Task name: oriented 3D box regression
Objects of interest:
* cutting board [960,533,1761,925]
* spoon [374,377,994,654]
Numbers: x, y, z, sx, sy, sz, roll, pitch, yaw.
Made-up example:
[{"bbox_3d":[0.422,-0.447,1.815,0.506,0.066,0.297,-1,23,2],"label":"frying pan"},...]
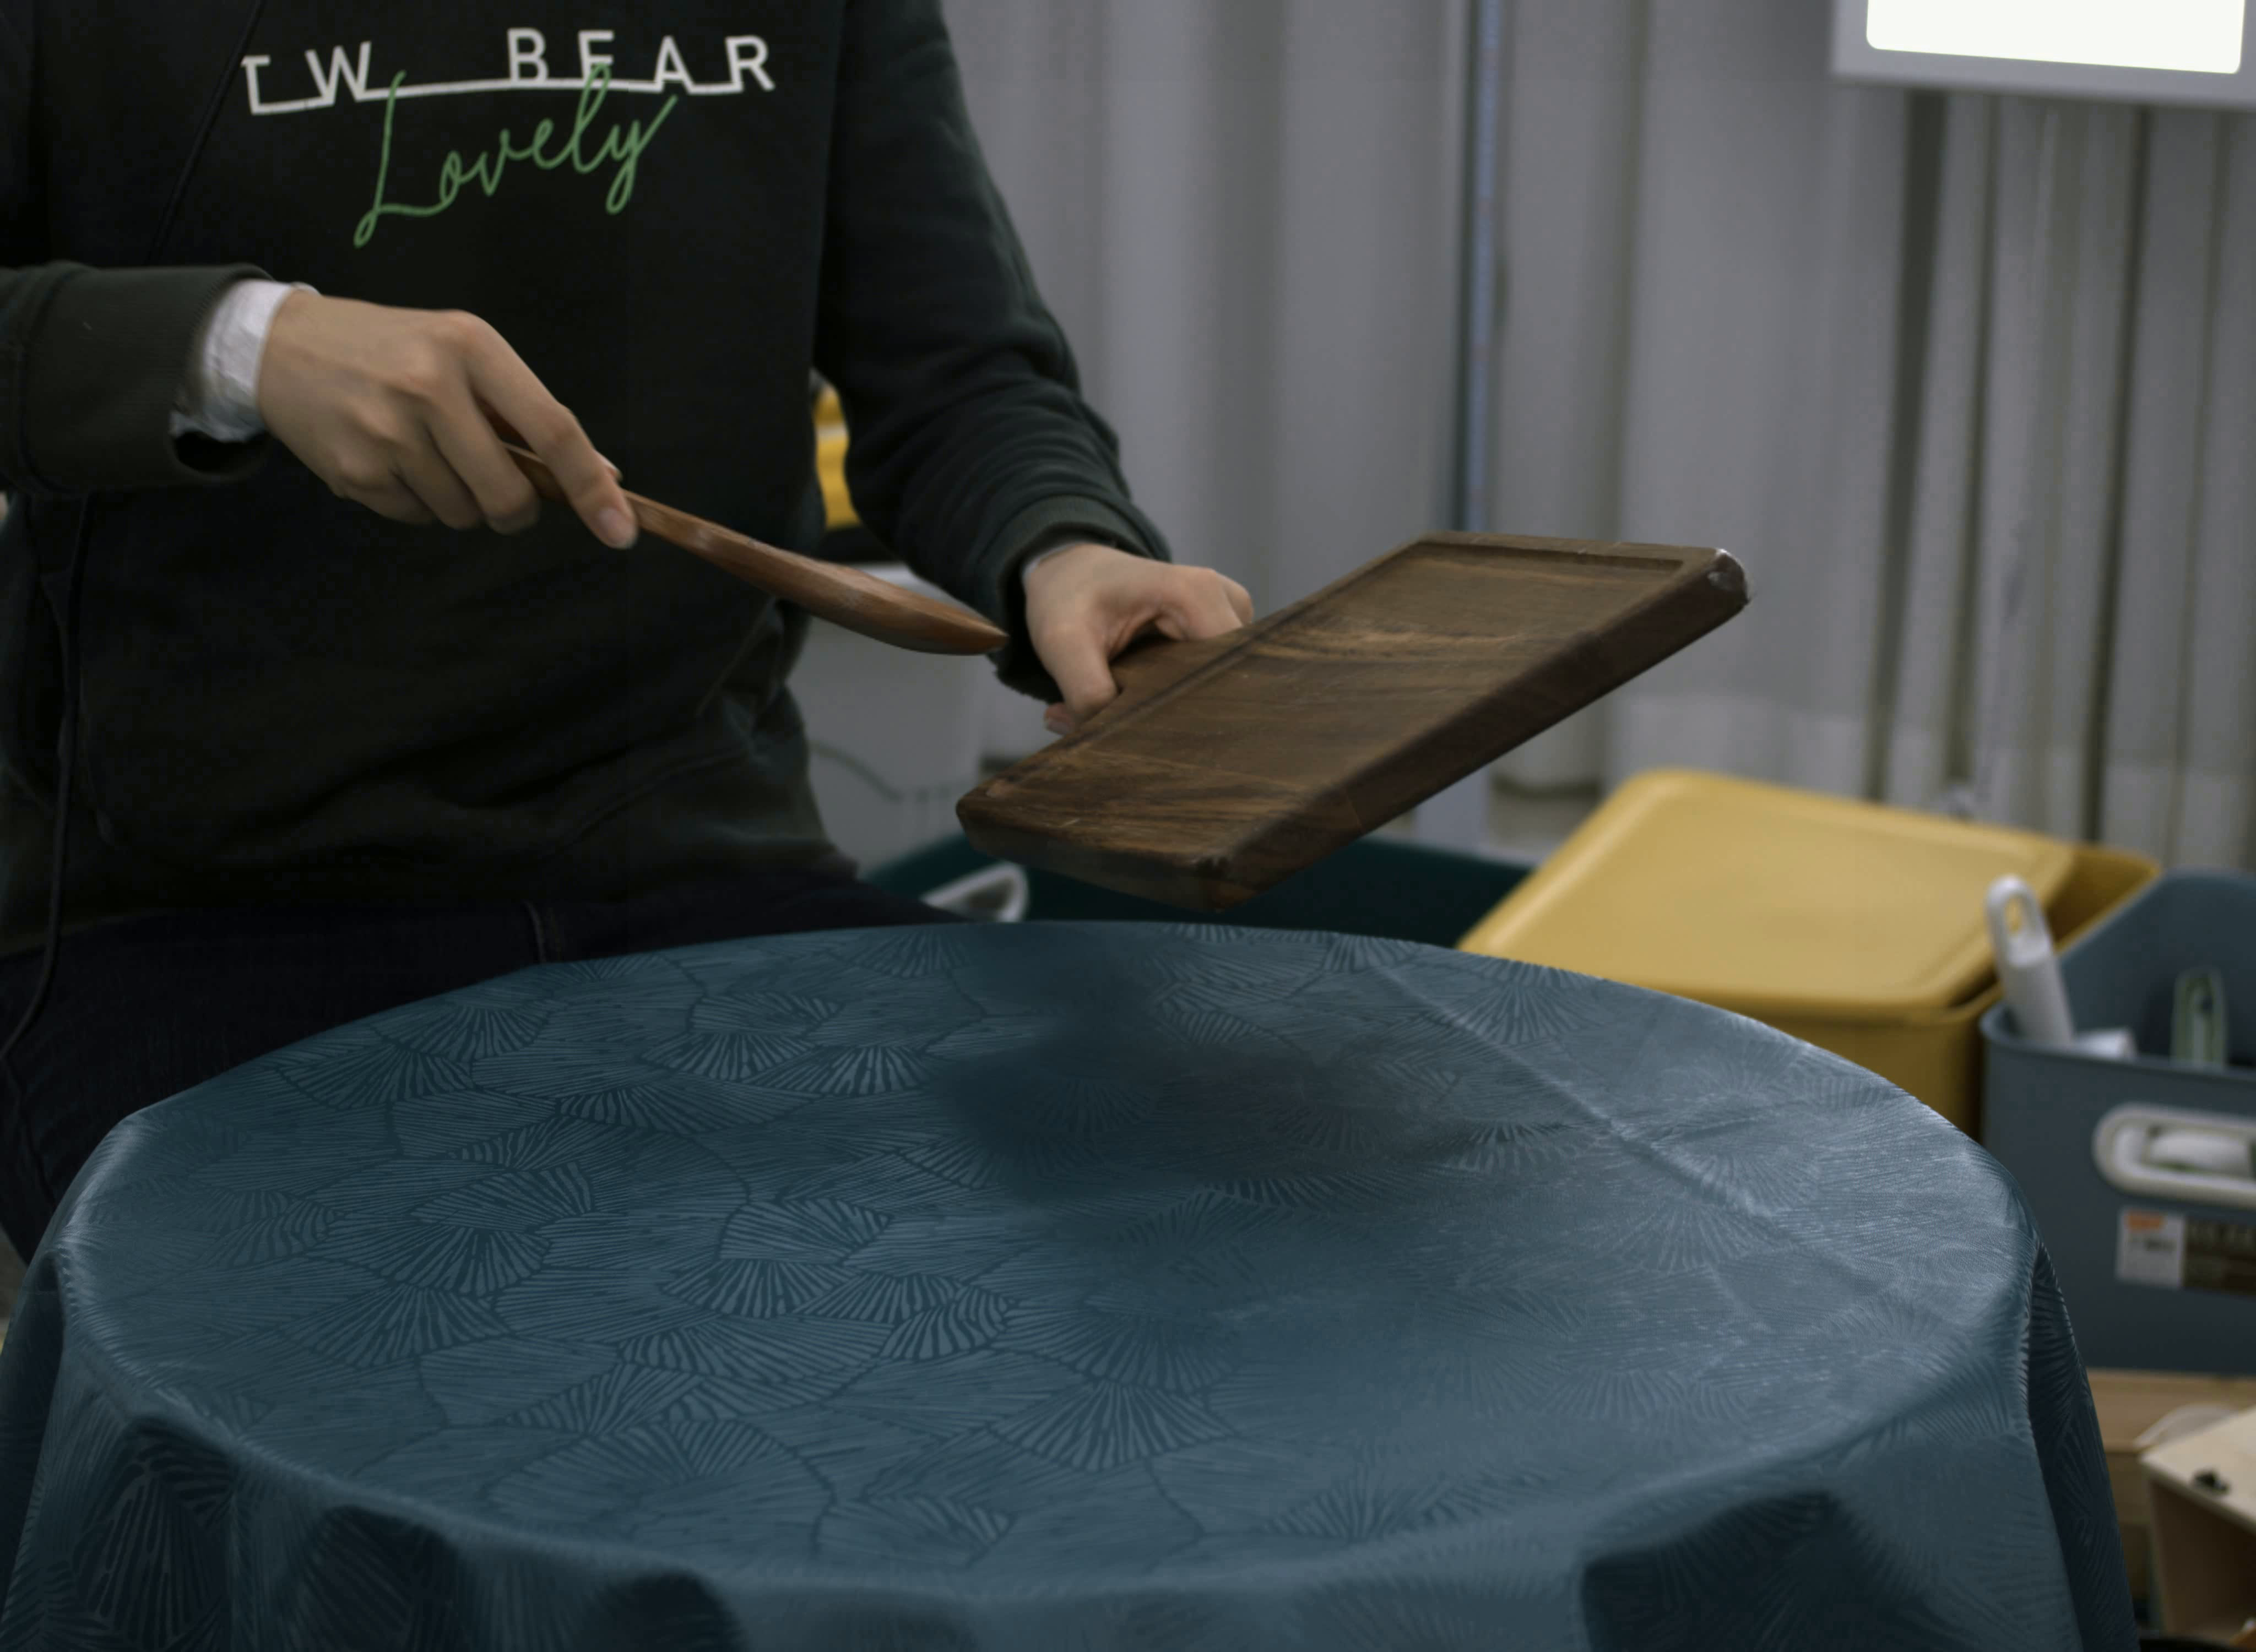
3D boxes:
[{"bbox_3d":[0.051,-0.039,1.712,0.201,0.023,0.349,-31,13,-14],"label":"cutting board"},{"bbox_3d":[-0.144,-0.097,1.697,0.215,0.017,0.075,23,10,3],"label":"spoon"}]
